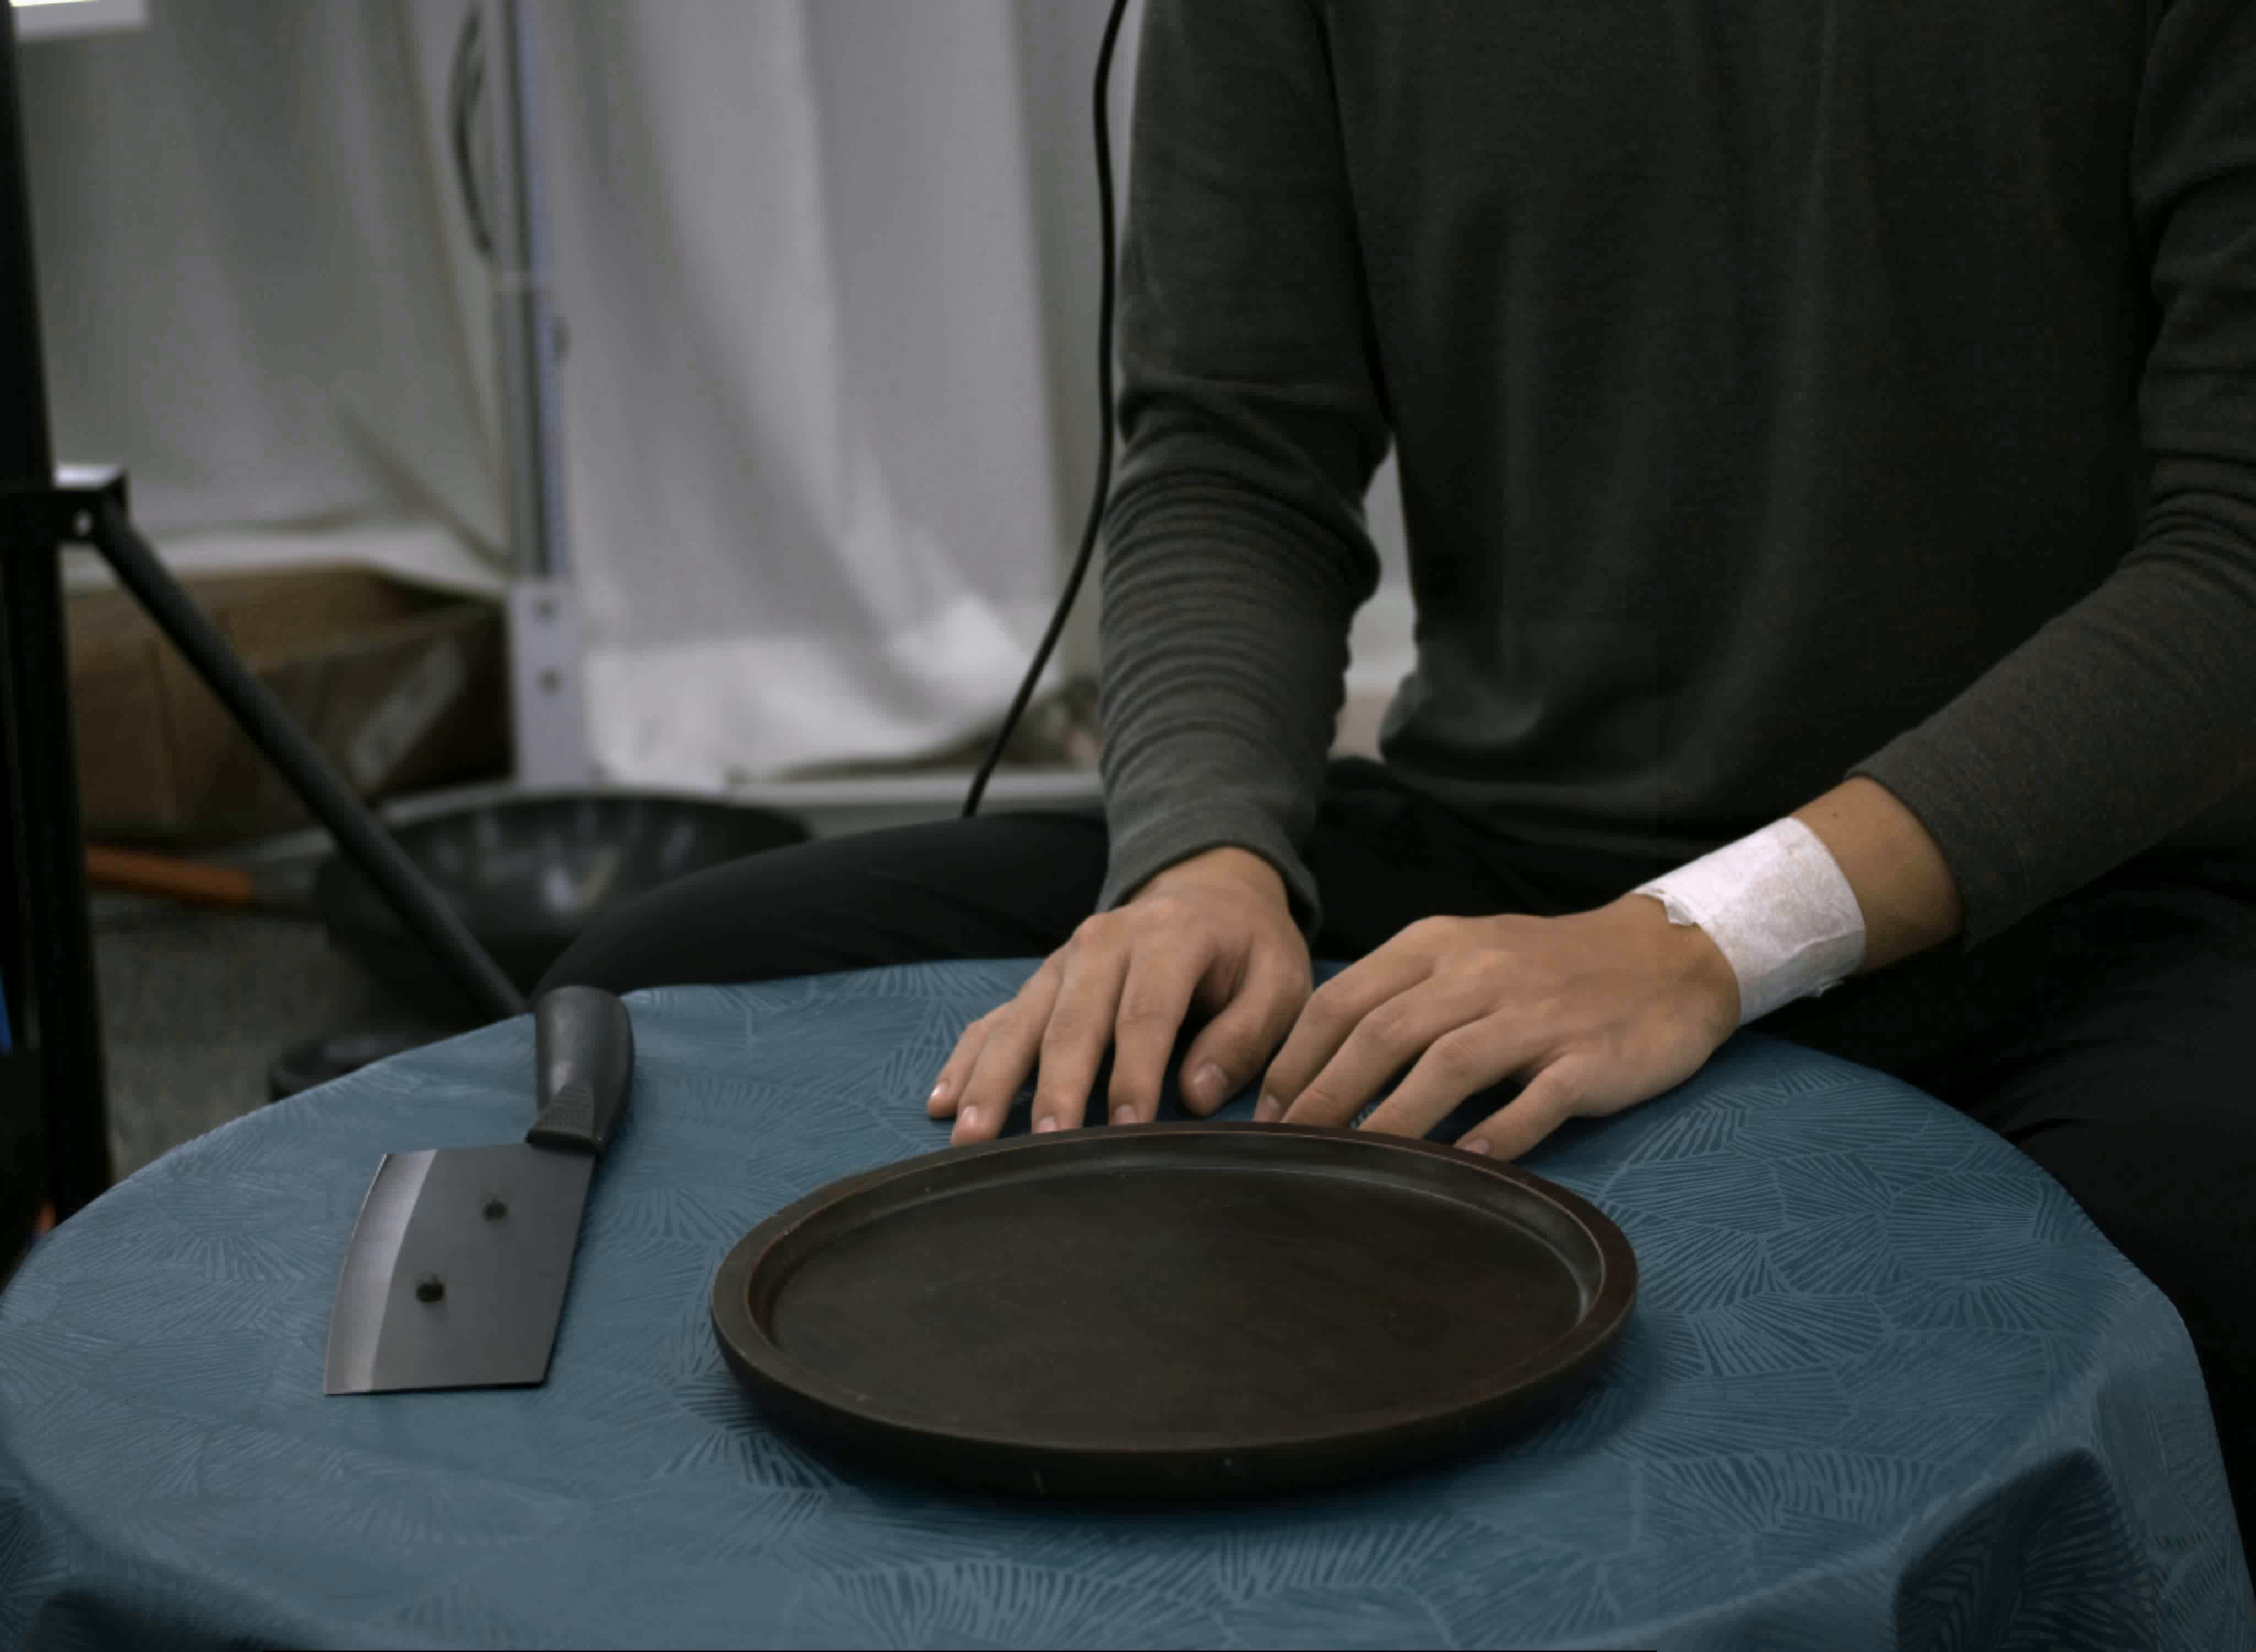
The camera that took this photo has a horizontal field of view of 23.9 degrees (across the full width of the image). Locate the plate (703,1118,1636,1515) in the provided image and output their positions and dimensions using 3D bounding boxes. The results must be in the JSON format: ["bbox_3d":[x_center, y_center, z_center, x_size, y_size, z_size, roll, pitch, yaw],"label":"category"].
[{"bbox_3d":[0.012,0.130,1.440,0.253,0.029,0.256,-4,15,0],"label":"plate"}]

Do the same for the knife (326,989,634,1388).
[{"bbox_3d":[-0.186,0.106,1.576,0.081,0.021,0.302,-3,17,5],"label":"knife"}]
